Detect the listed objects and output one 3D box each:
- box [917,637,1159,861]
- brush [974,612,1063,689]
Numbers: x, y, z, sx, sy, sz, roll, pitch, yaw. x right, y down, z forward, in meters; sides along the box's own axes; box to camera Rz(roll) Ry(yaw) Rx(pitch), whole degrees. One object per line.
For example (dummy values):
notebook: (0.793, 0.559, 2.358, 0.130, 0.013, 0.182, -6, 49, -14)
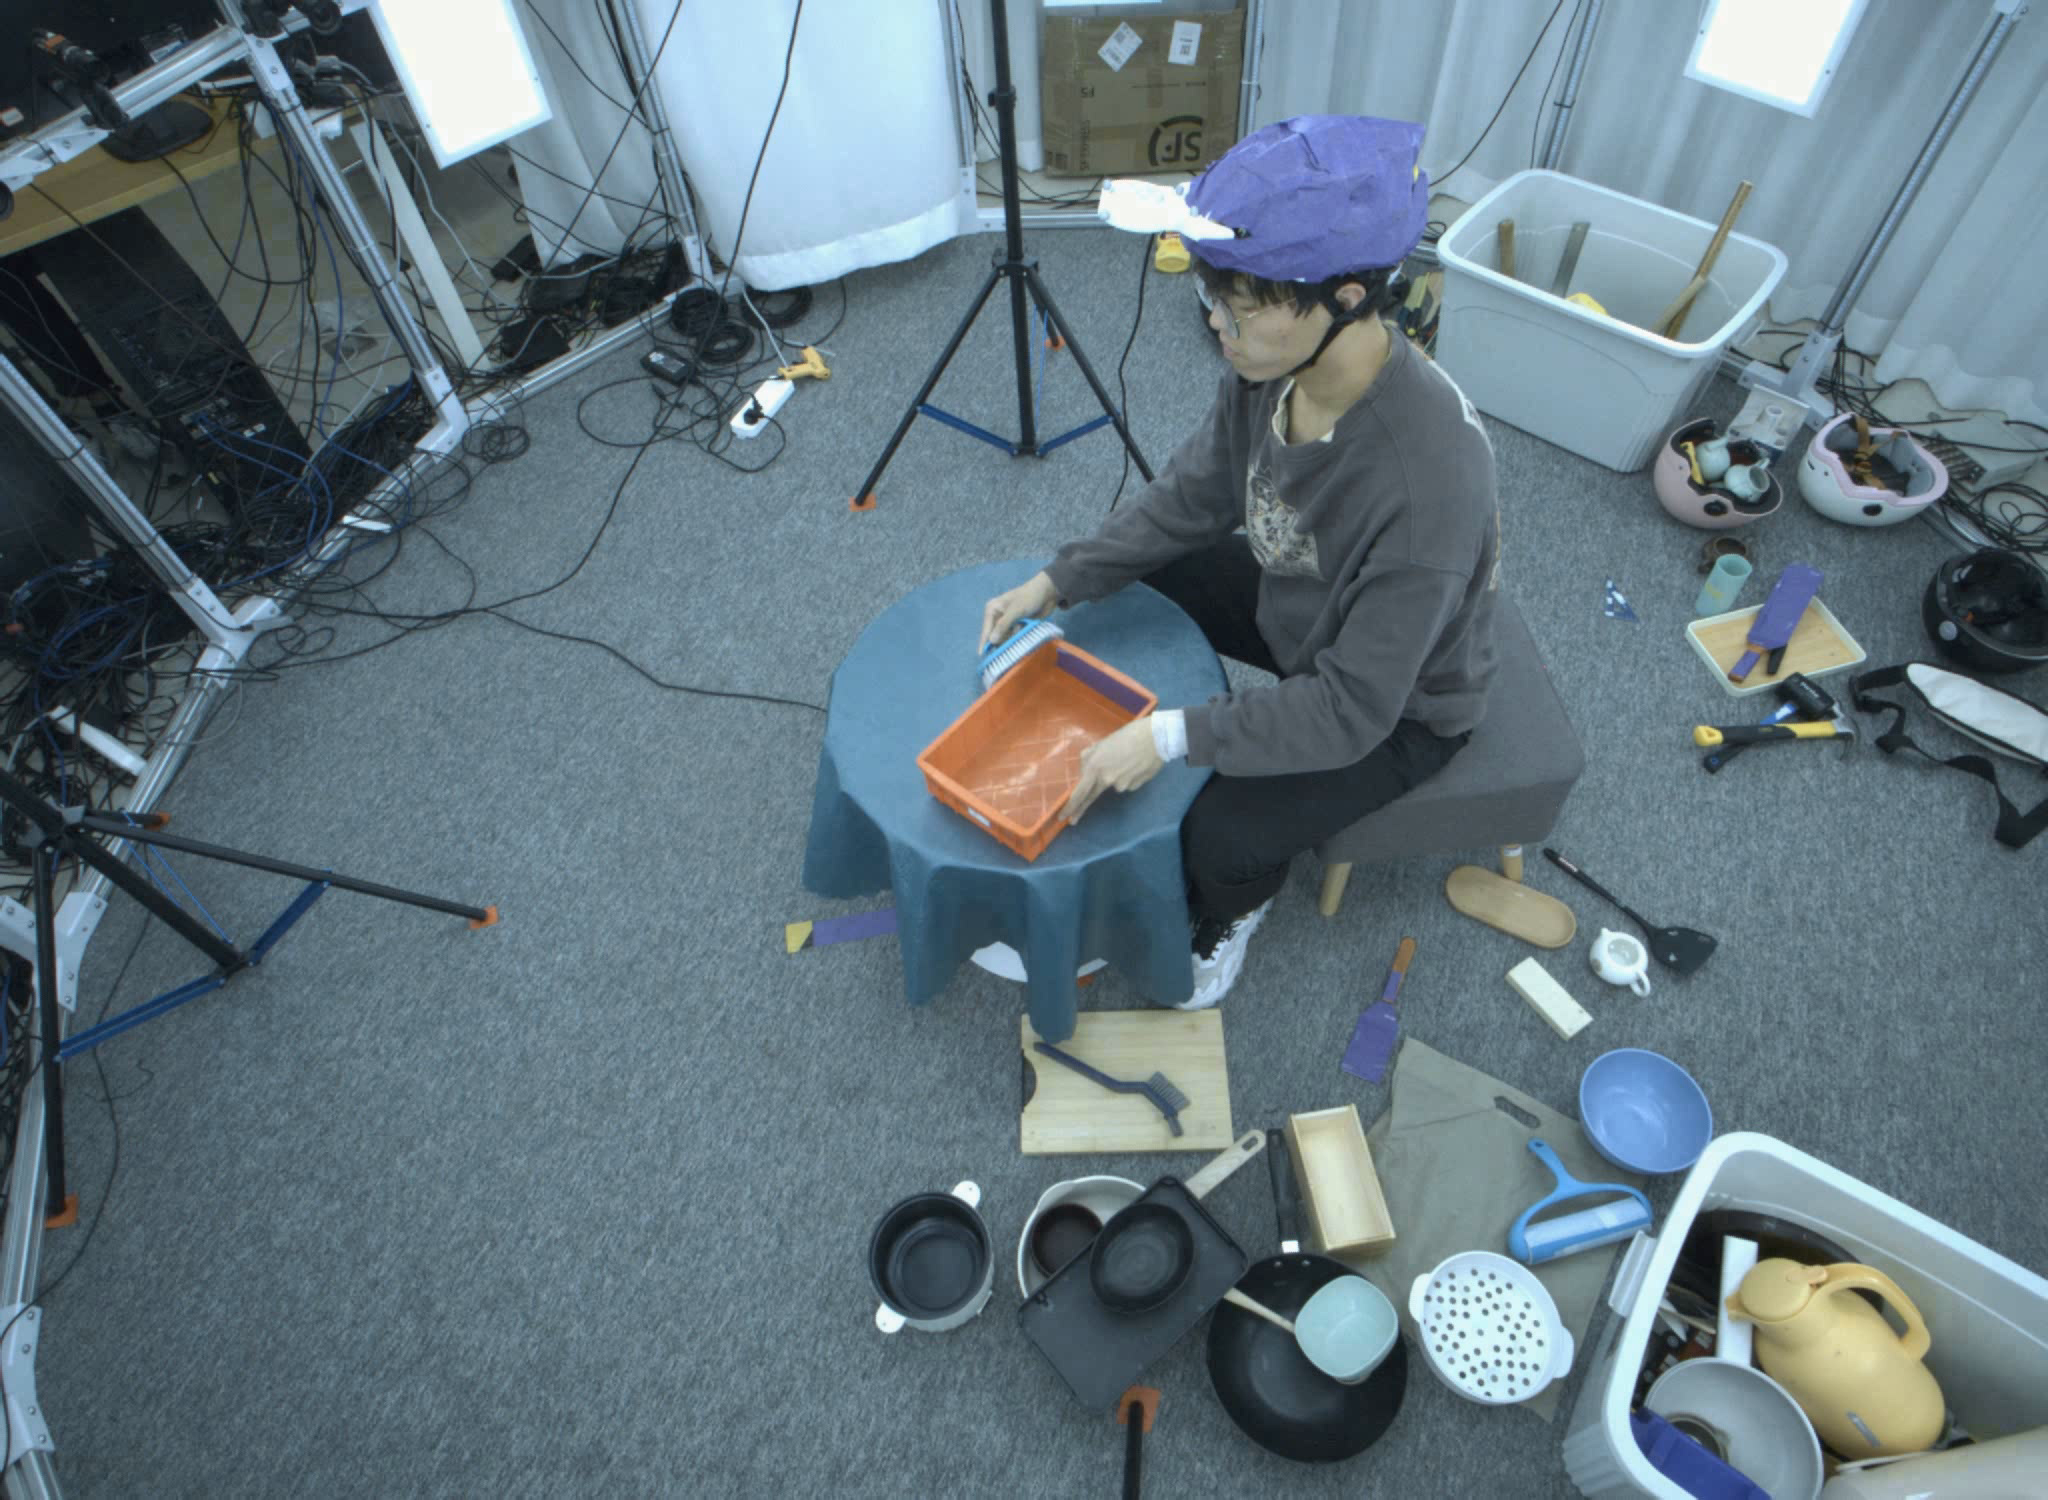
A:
box: (0.024, -0.003, 1.733, 0.203, 0.097, 0.305, 33, 62, 23)
brush: (-0.016, -0.155, 1.801, 0.142, 0.085, 0.063, -38, 69, 2)
